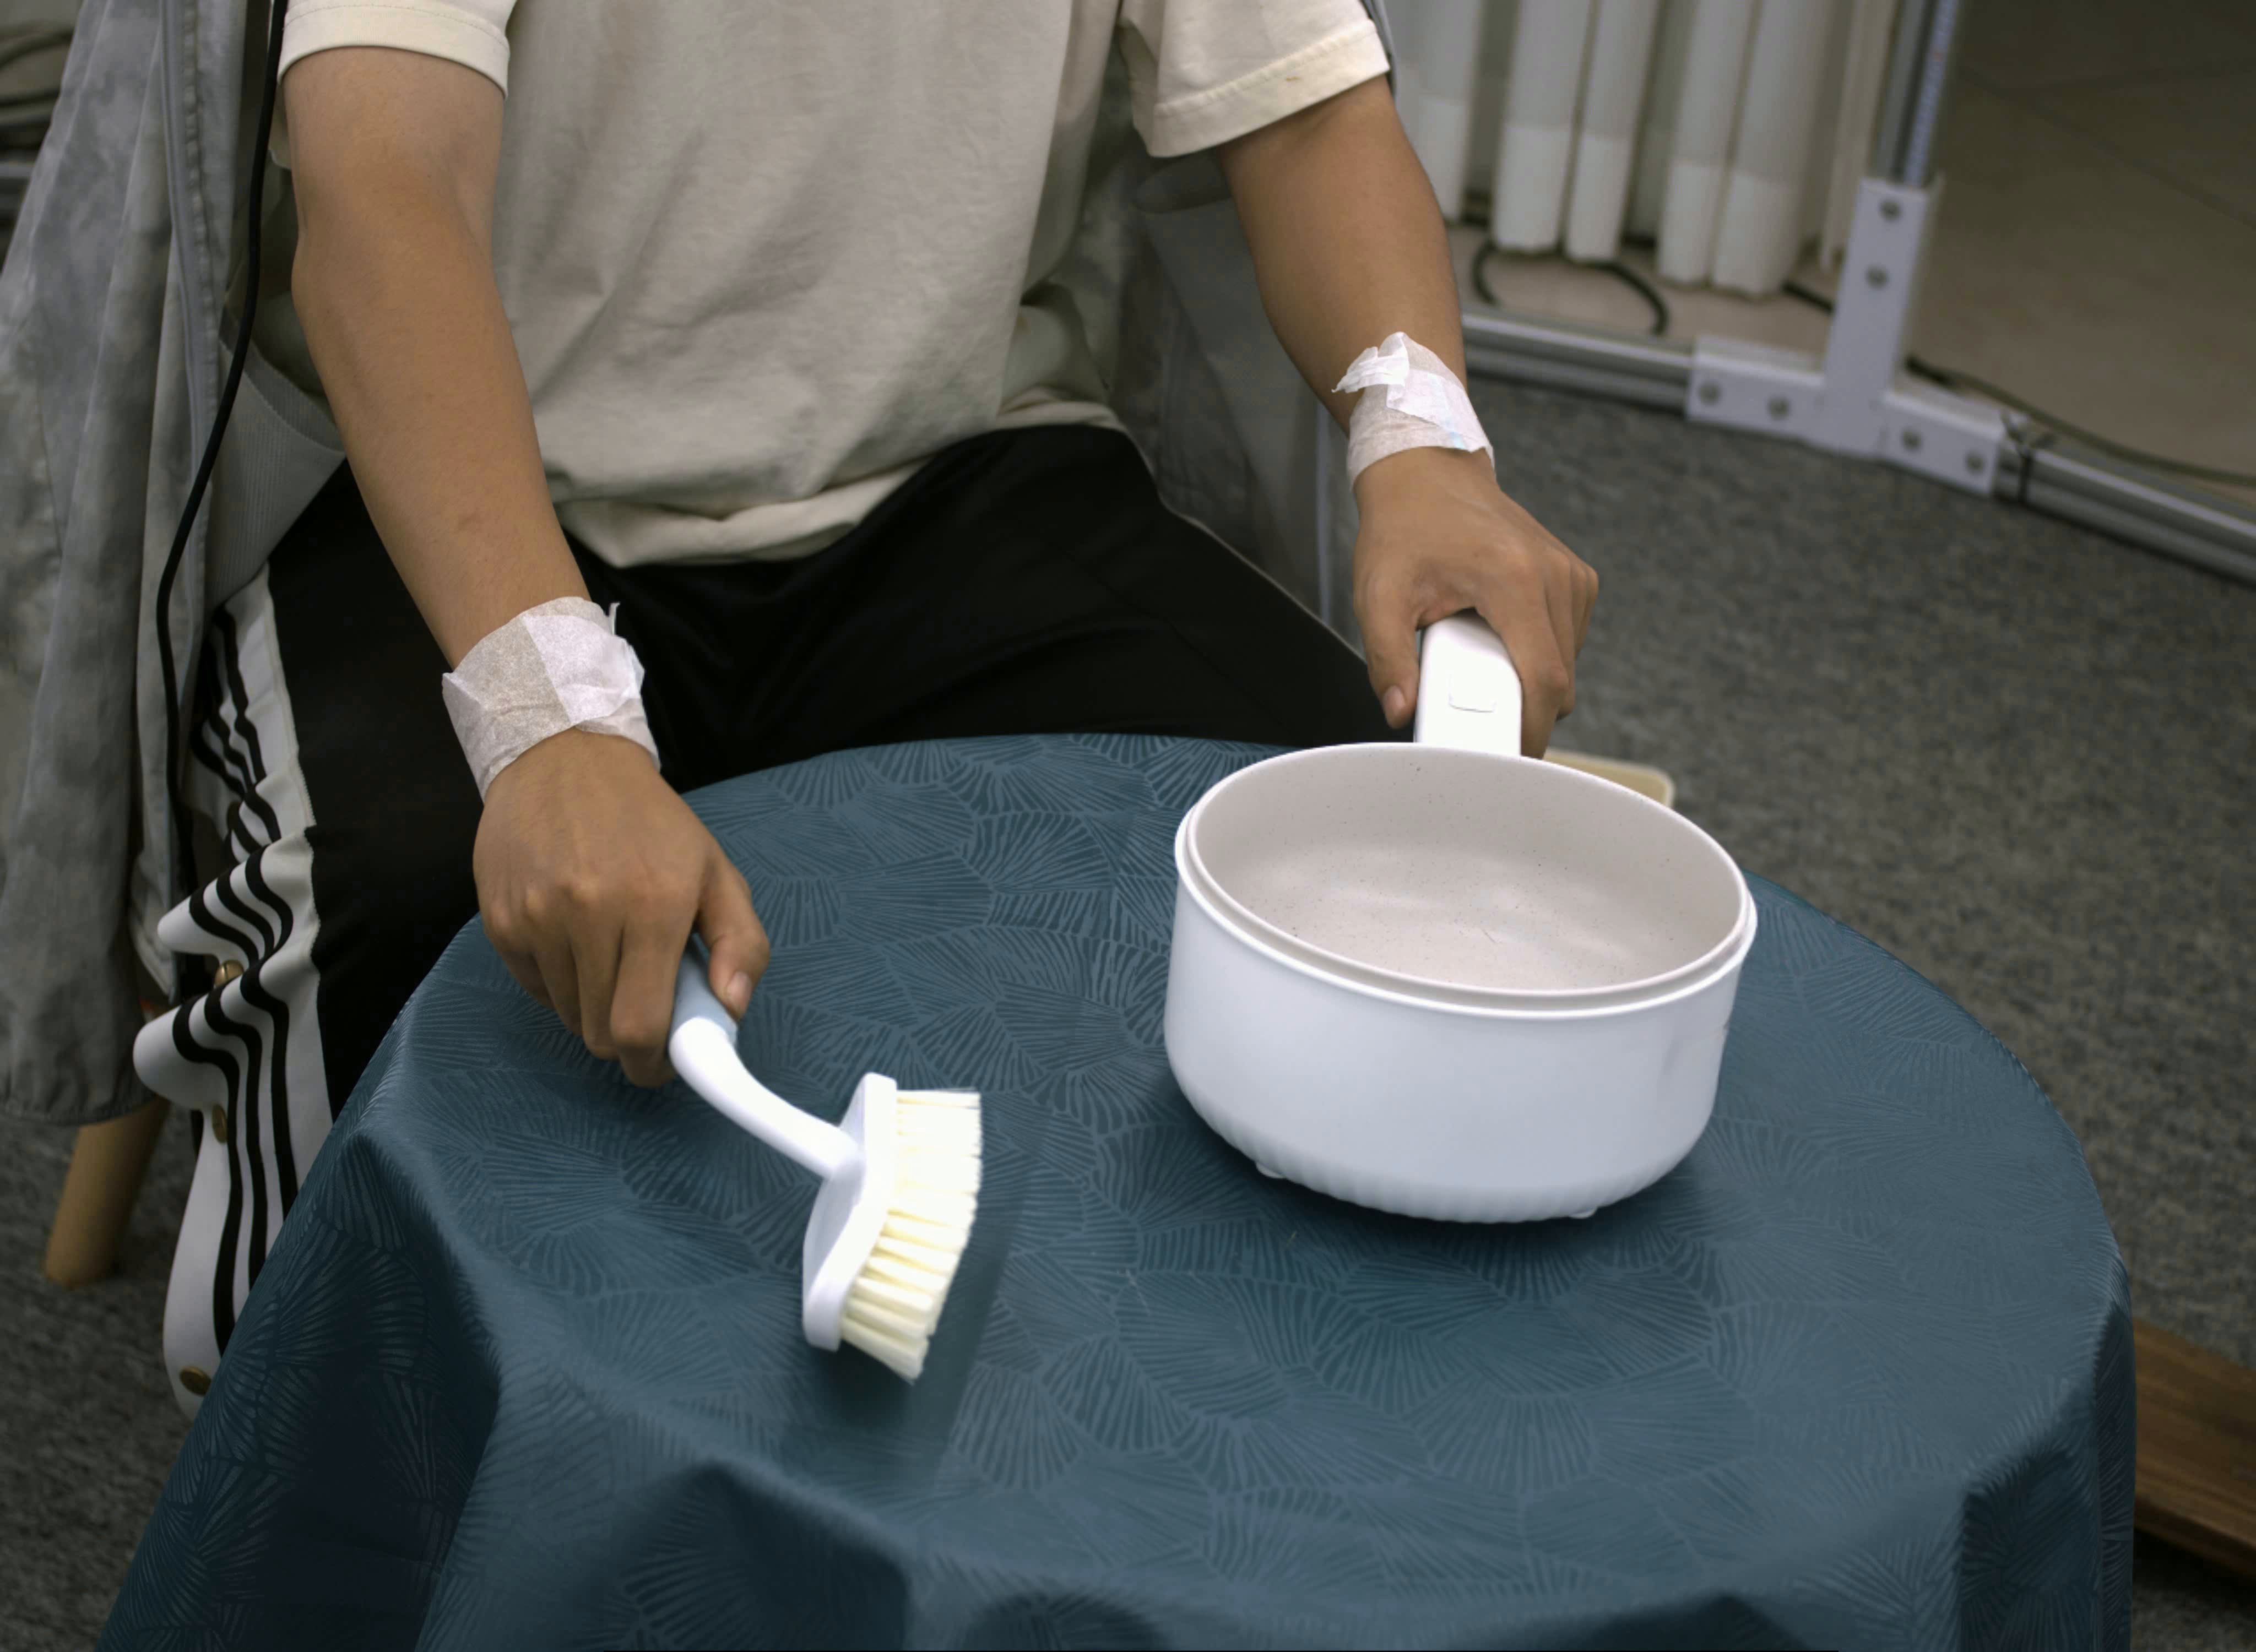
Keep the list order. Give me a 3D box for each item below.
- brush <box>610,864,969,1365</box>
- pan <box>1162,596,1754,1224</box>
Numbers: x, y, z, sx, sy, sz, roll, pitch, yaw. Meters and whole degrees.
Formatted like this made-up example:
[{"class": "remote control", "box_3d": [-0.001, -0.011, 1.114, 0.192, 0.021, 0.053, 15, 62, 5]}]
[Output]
[{"class": "brush", "box_3d": [-0.100, 0.087, 1.782, 0.083, 0.084, 0.328, -35, 27, 1]}, {"class": "pan", "box_3d": [0.116, 0.027, 1.915, 0.201, 0.102, 0.356, 7, 24, 2]}]
